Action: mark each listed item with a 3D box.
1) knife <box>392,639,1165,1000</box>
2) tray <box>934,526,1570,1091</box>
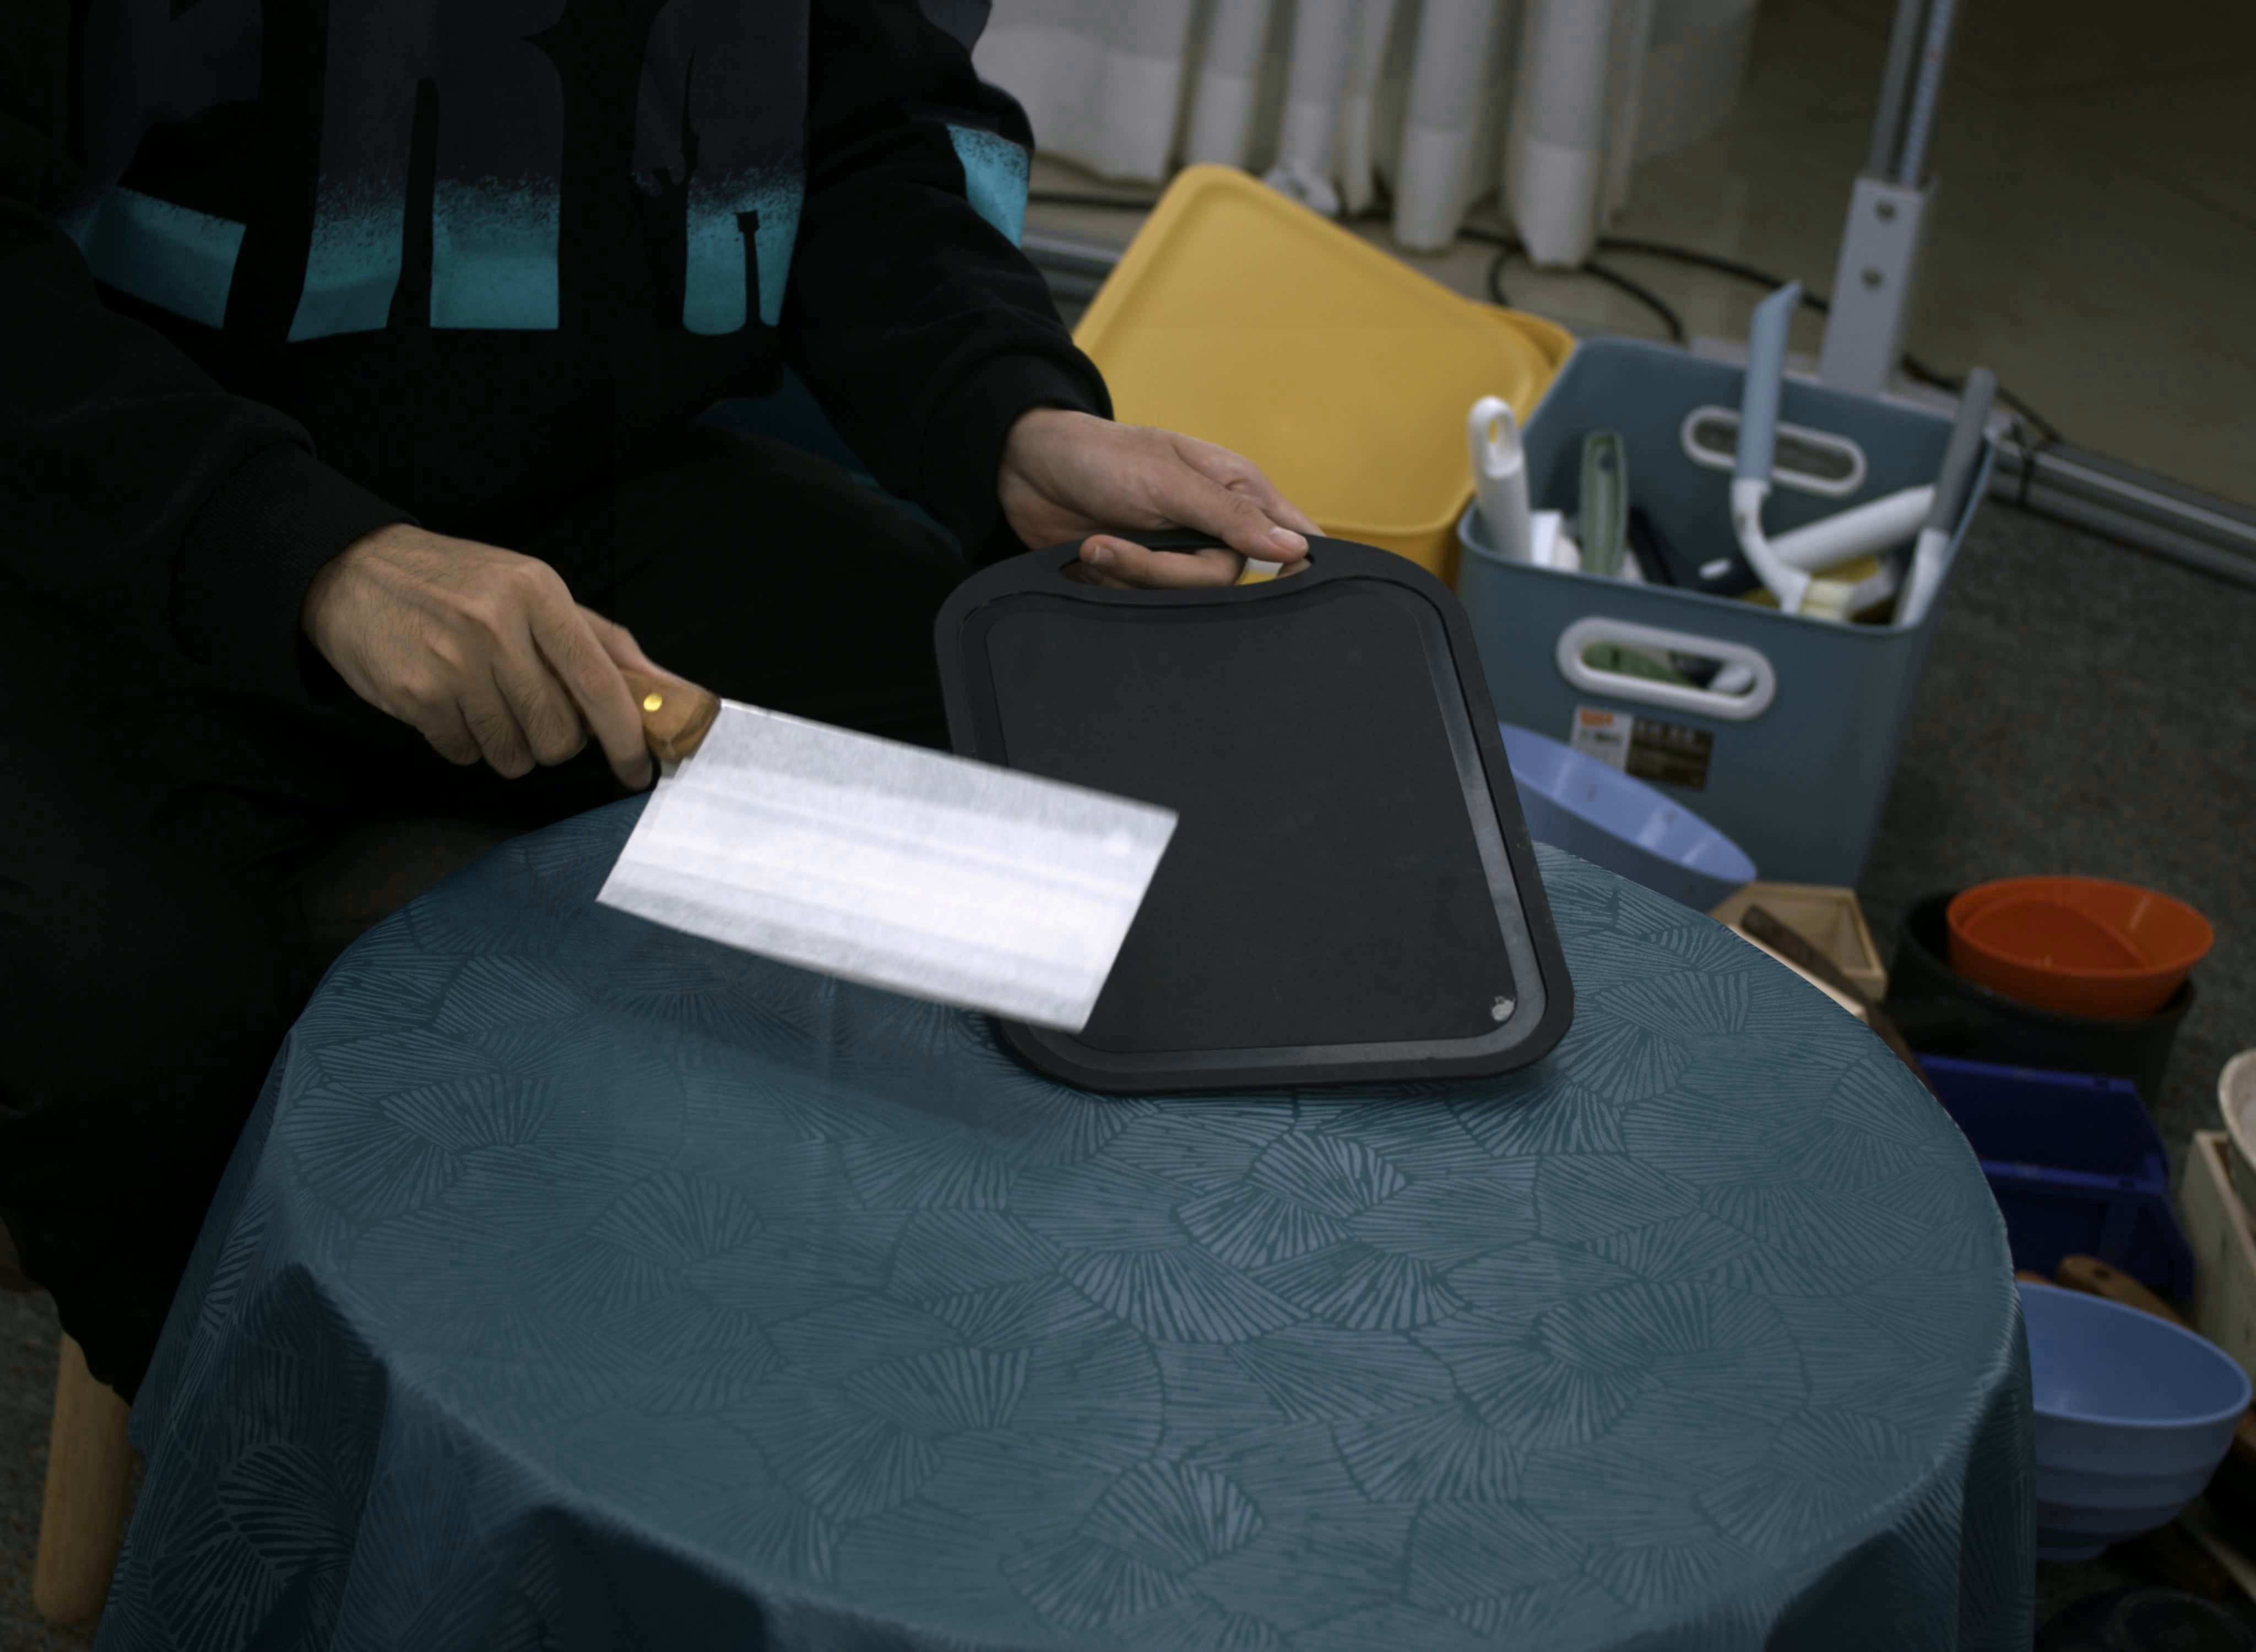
[{"bbox_3d":[-0.137,0.000,1.874,0.307,0.021,0.093,15,61,22],"label":"knife"},{"bbox_3d":[0.040,-0.015,1.988,0.210,0.010,0.328,-3,40,-7],"label":"tray"}]
